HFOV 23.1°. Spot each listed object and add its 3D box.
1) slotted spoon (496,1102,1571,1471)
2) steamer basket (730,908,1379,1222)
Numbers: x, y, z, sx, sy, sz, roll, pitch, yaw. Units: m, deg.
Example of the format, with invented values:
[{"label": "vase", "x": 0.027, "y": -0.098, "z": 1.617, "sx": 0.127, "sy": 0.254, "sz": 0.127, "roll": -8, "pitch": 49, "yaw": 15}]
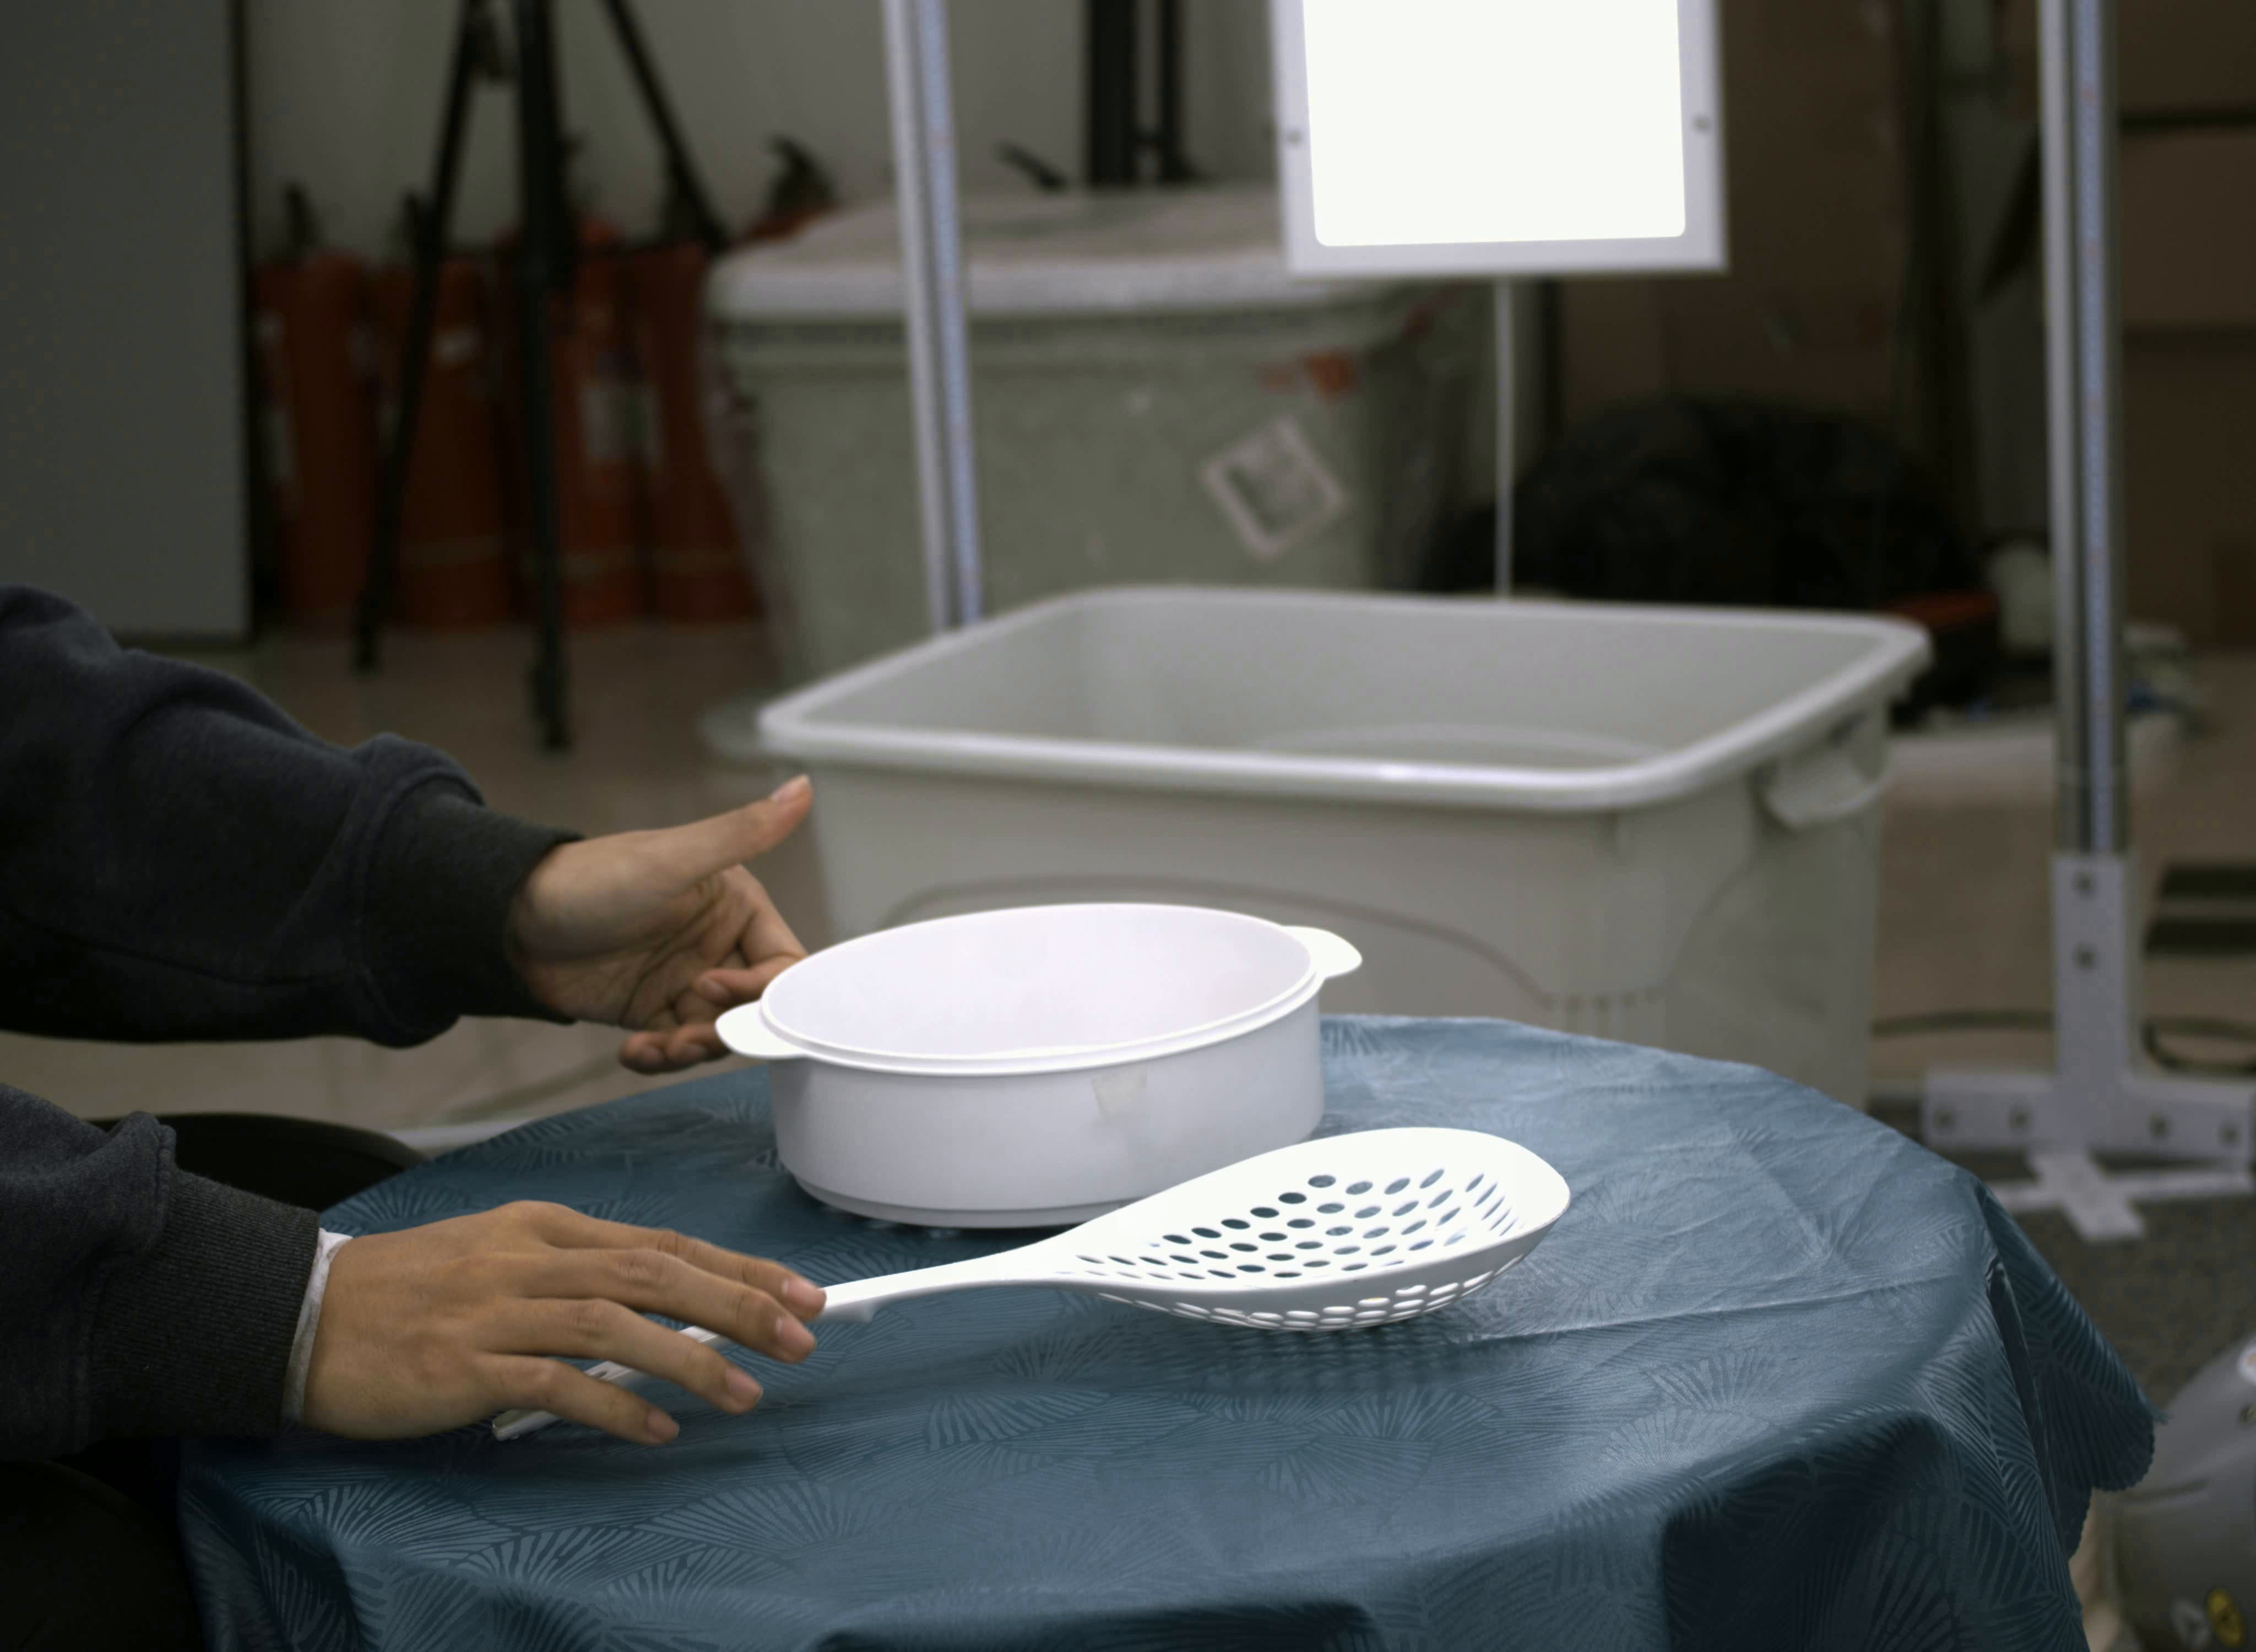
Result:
[{"label": "slotted spoon", "x": -0.030, "y": 0.149, "z": 1.732, "sx": 0.344, "sy": 0.050, "sz": 0.138, "roll": -8, "pitch": 17, "yaw": -10}, {"label": "steamer basket", "x": -0.024, "y": 0.084, "z": 1.936, "sx": 0.227, "sy": 0.069, "sz": 0.204, "roll": -6, "pitch": 13, "yaw": -13}]
